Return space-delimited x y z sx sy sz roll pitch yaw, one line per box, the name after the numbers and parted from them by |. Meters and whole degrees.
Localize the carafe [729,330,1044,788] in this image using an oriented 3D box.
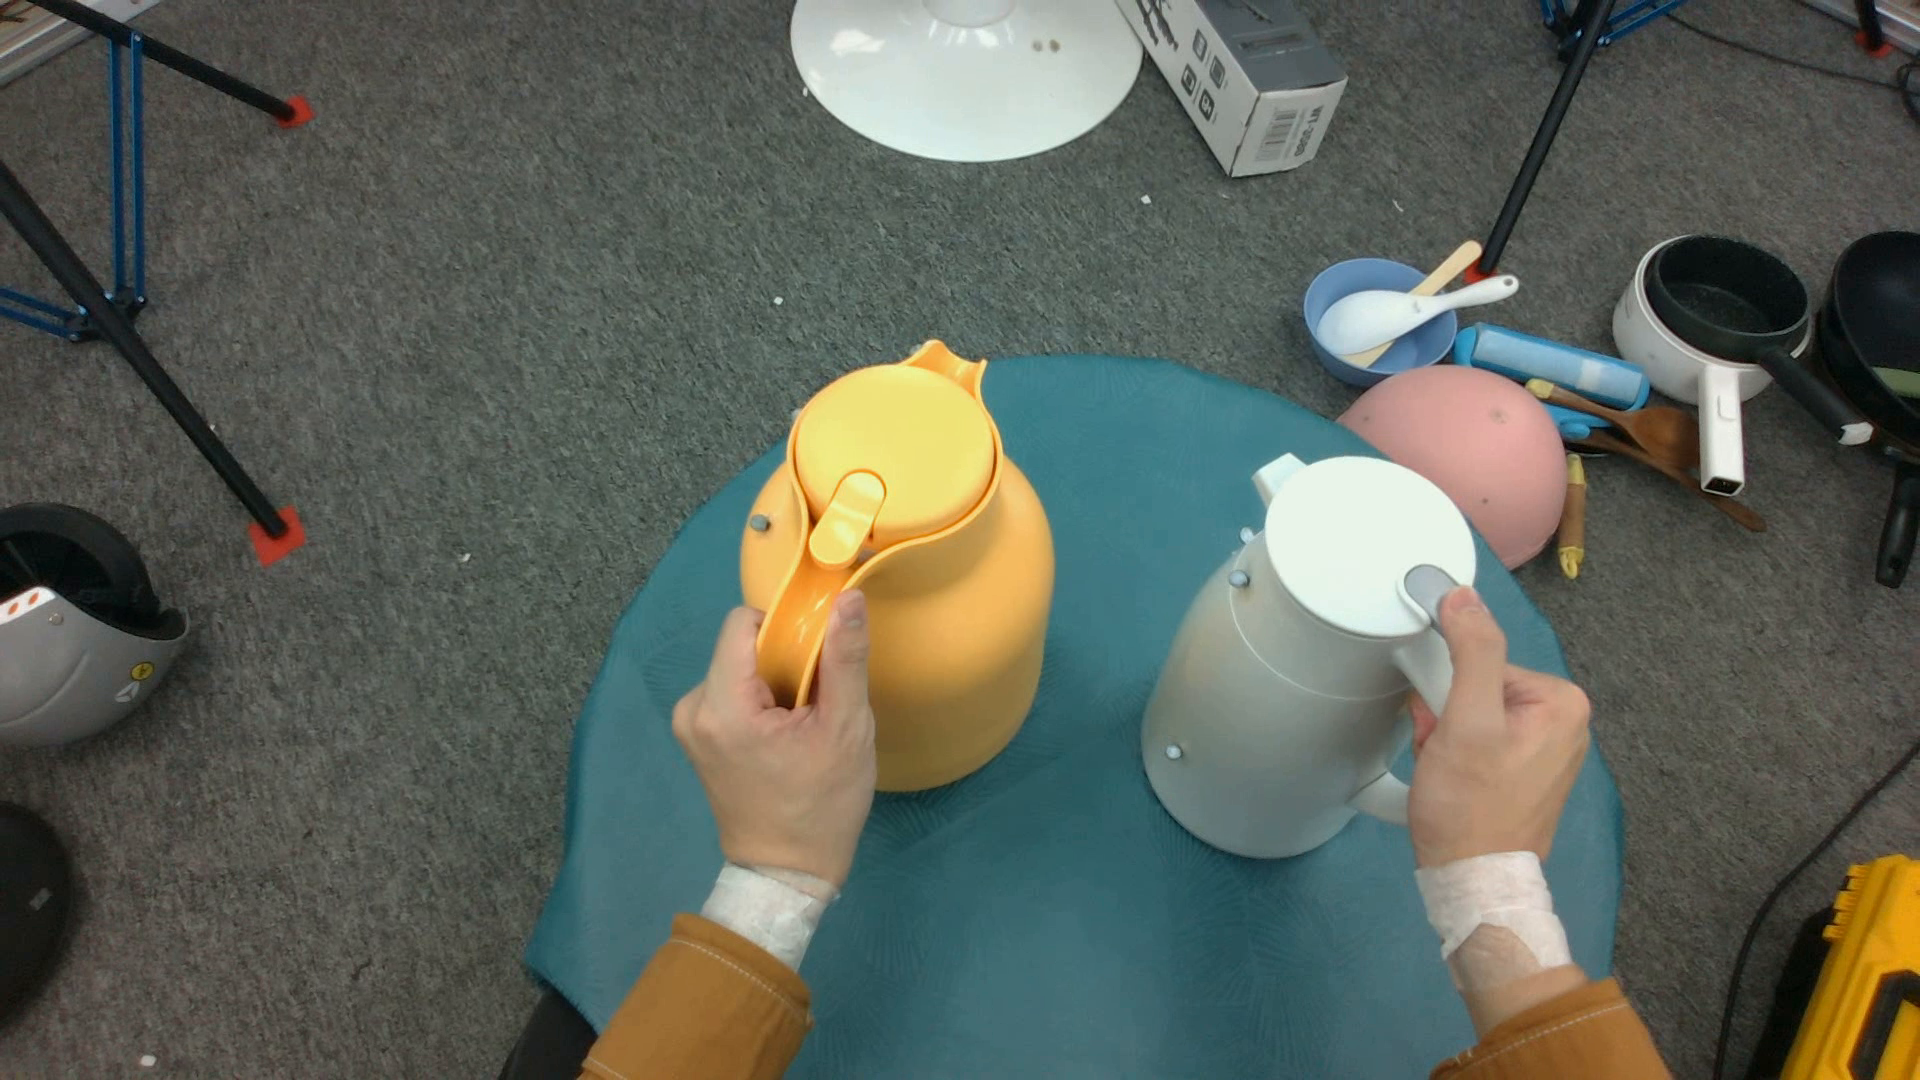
-0.048 0.029 0.704 0.163 0.259 0.203 24 60 13 | carafe

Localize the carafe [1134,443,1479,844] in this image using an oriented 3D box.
0.182 0.068 0.696 0.133 0.247 0.168 -29 66 -18 | carafe
